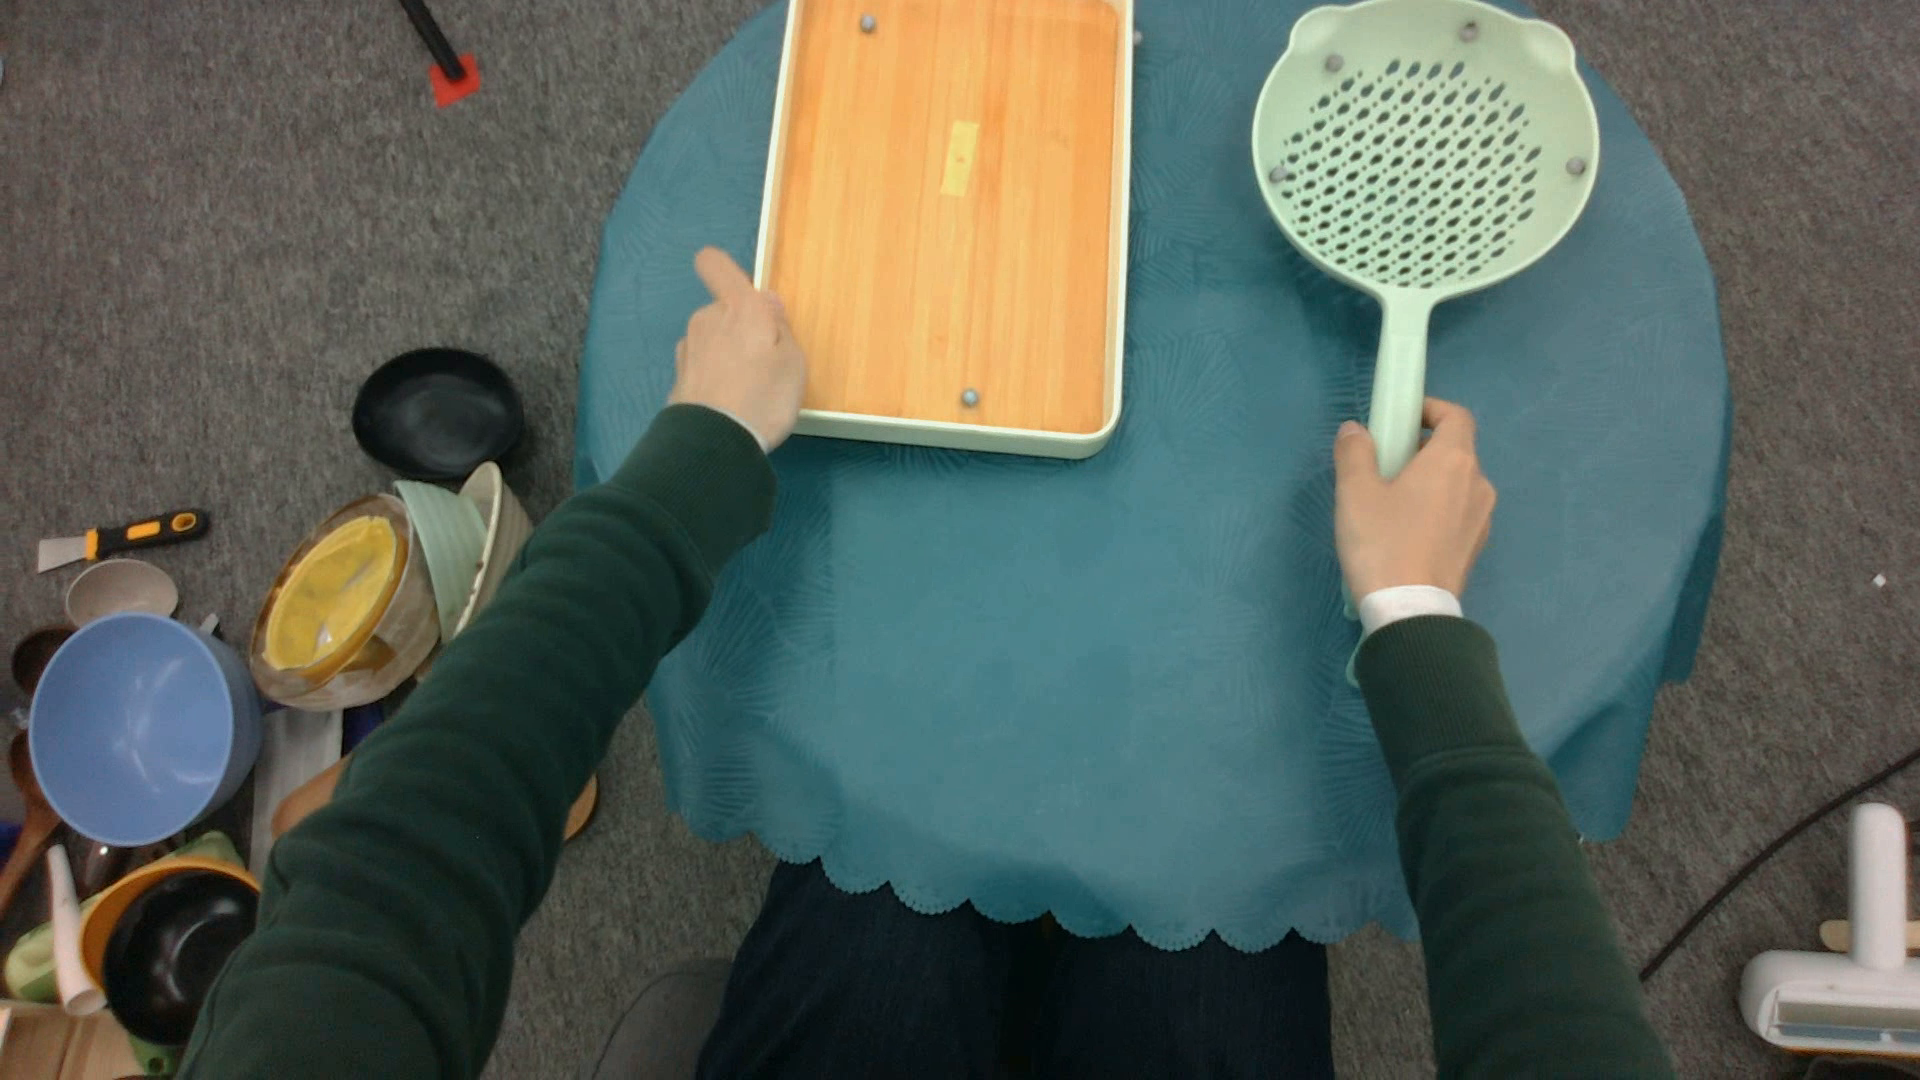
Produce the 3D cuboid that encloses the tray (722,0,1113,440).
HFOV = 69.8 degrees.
[{"bbox_3d":[-0.016,-0.201,0.738,0.191,0.027,0.301,5,70,-3],"label":"tray"}]

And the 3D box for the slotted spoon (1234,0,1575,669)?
[{"bbox_3d":[0.210,-0.117,0.686,0.169,0.075,0.360,7,68,9],"label":"slotted spoon"}]
